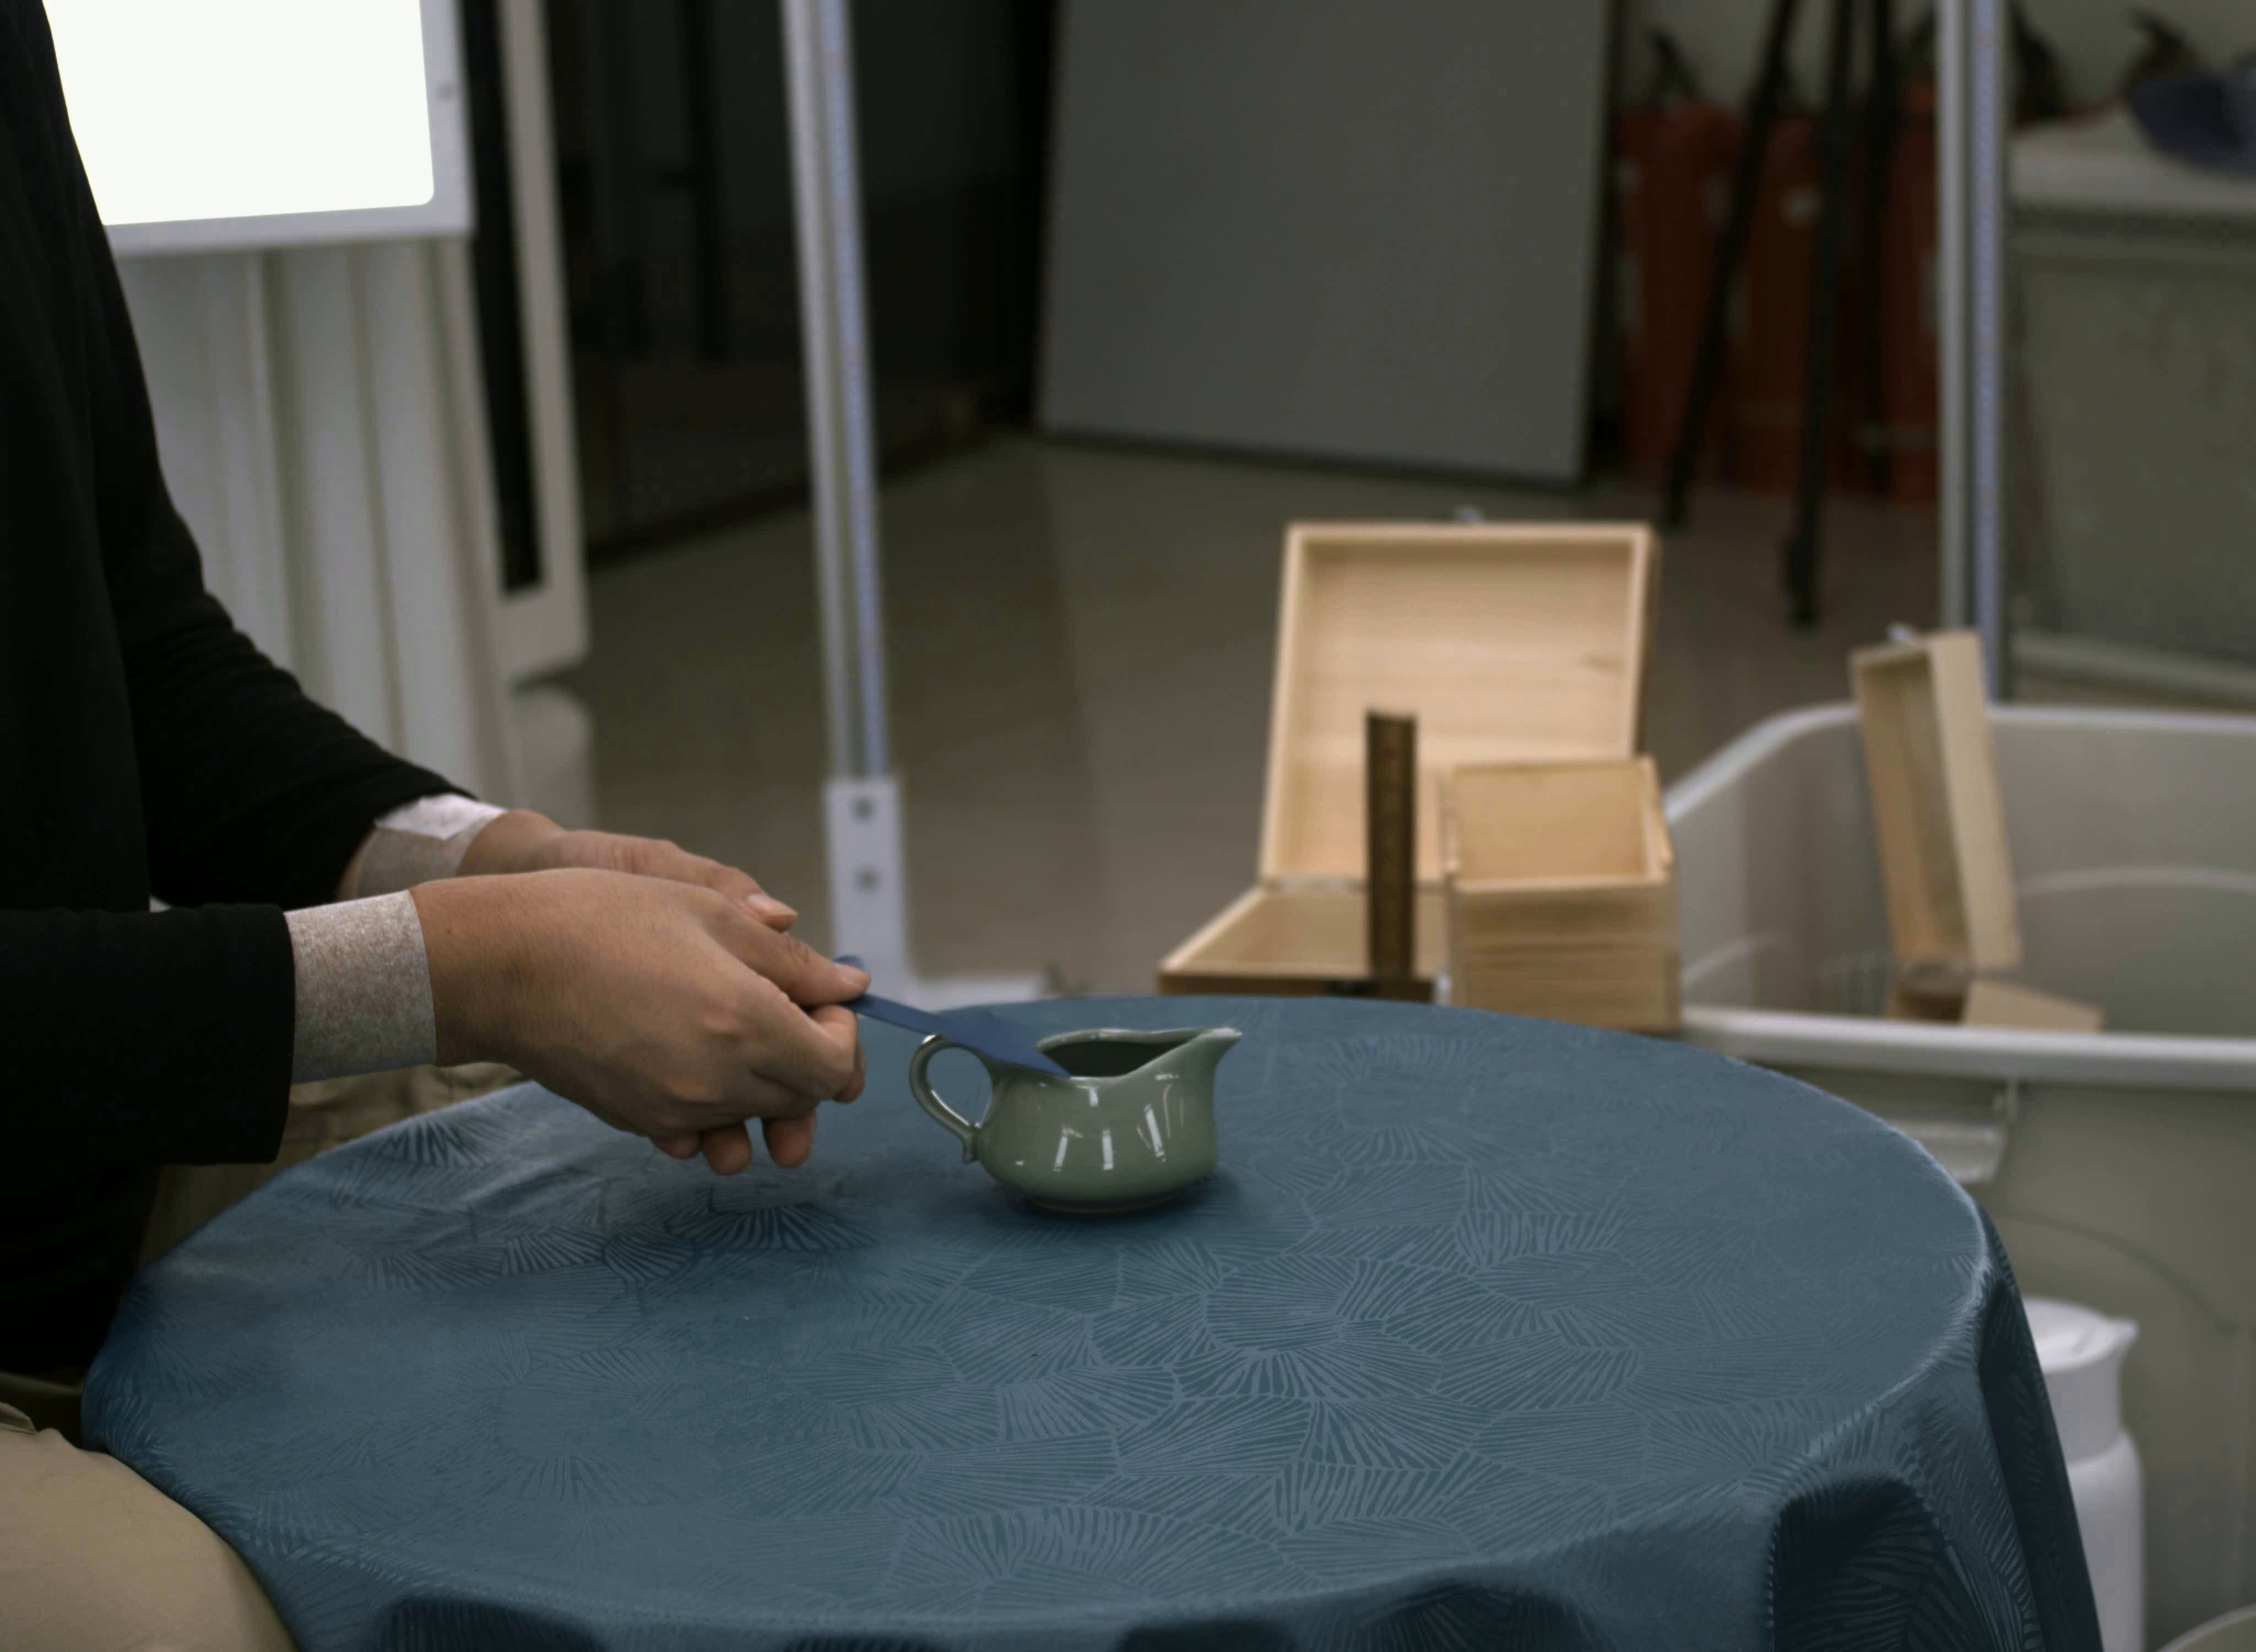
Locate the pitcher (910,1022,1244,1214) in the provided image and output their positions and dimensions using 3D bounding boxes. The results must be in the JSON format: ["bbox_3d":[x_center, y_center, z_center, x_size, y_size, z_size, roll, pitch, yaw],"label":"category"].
[{"bbox_3d":[-0.016,0.094,1.768,0.112,0.057,0.084,-2,11,10],"label":"pitcher"}]

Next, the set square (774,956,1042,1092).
[{"bbox_3d":[-0.075,0.064,1.767,0.060,0.006,0.133,-2,18,-23],"label":"set square"}]
